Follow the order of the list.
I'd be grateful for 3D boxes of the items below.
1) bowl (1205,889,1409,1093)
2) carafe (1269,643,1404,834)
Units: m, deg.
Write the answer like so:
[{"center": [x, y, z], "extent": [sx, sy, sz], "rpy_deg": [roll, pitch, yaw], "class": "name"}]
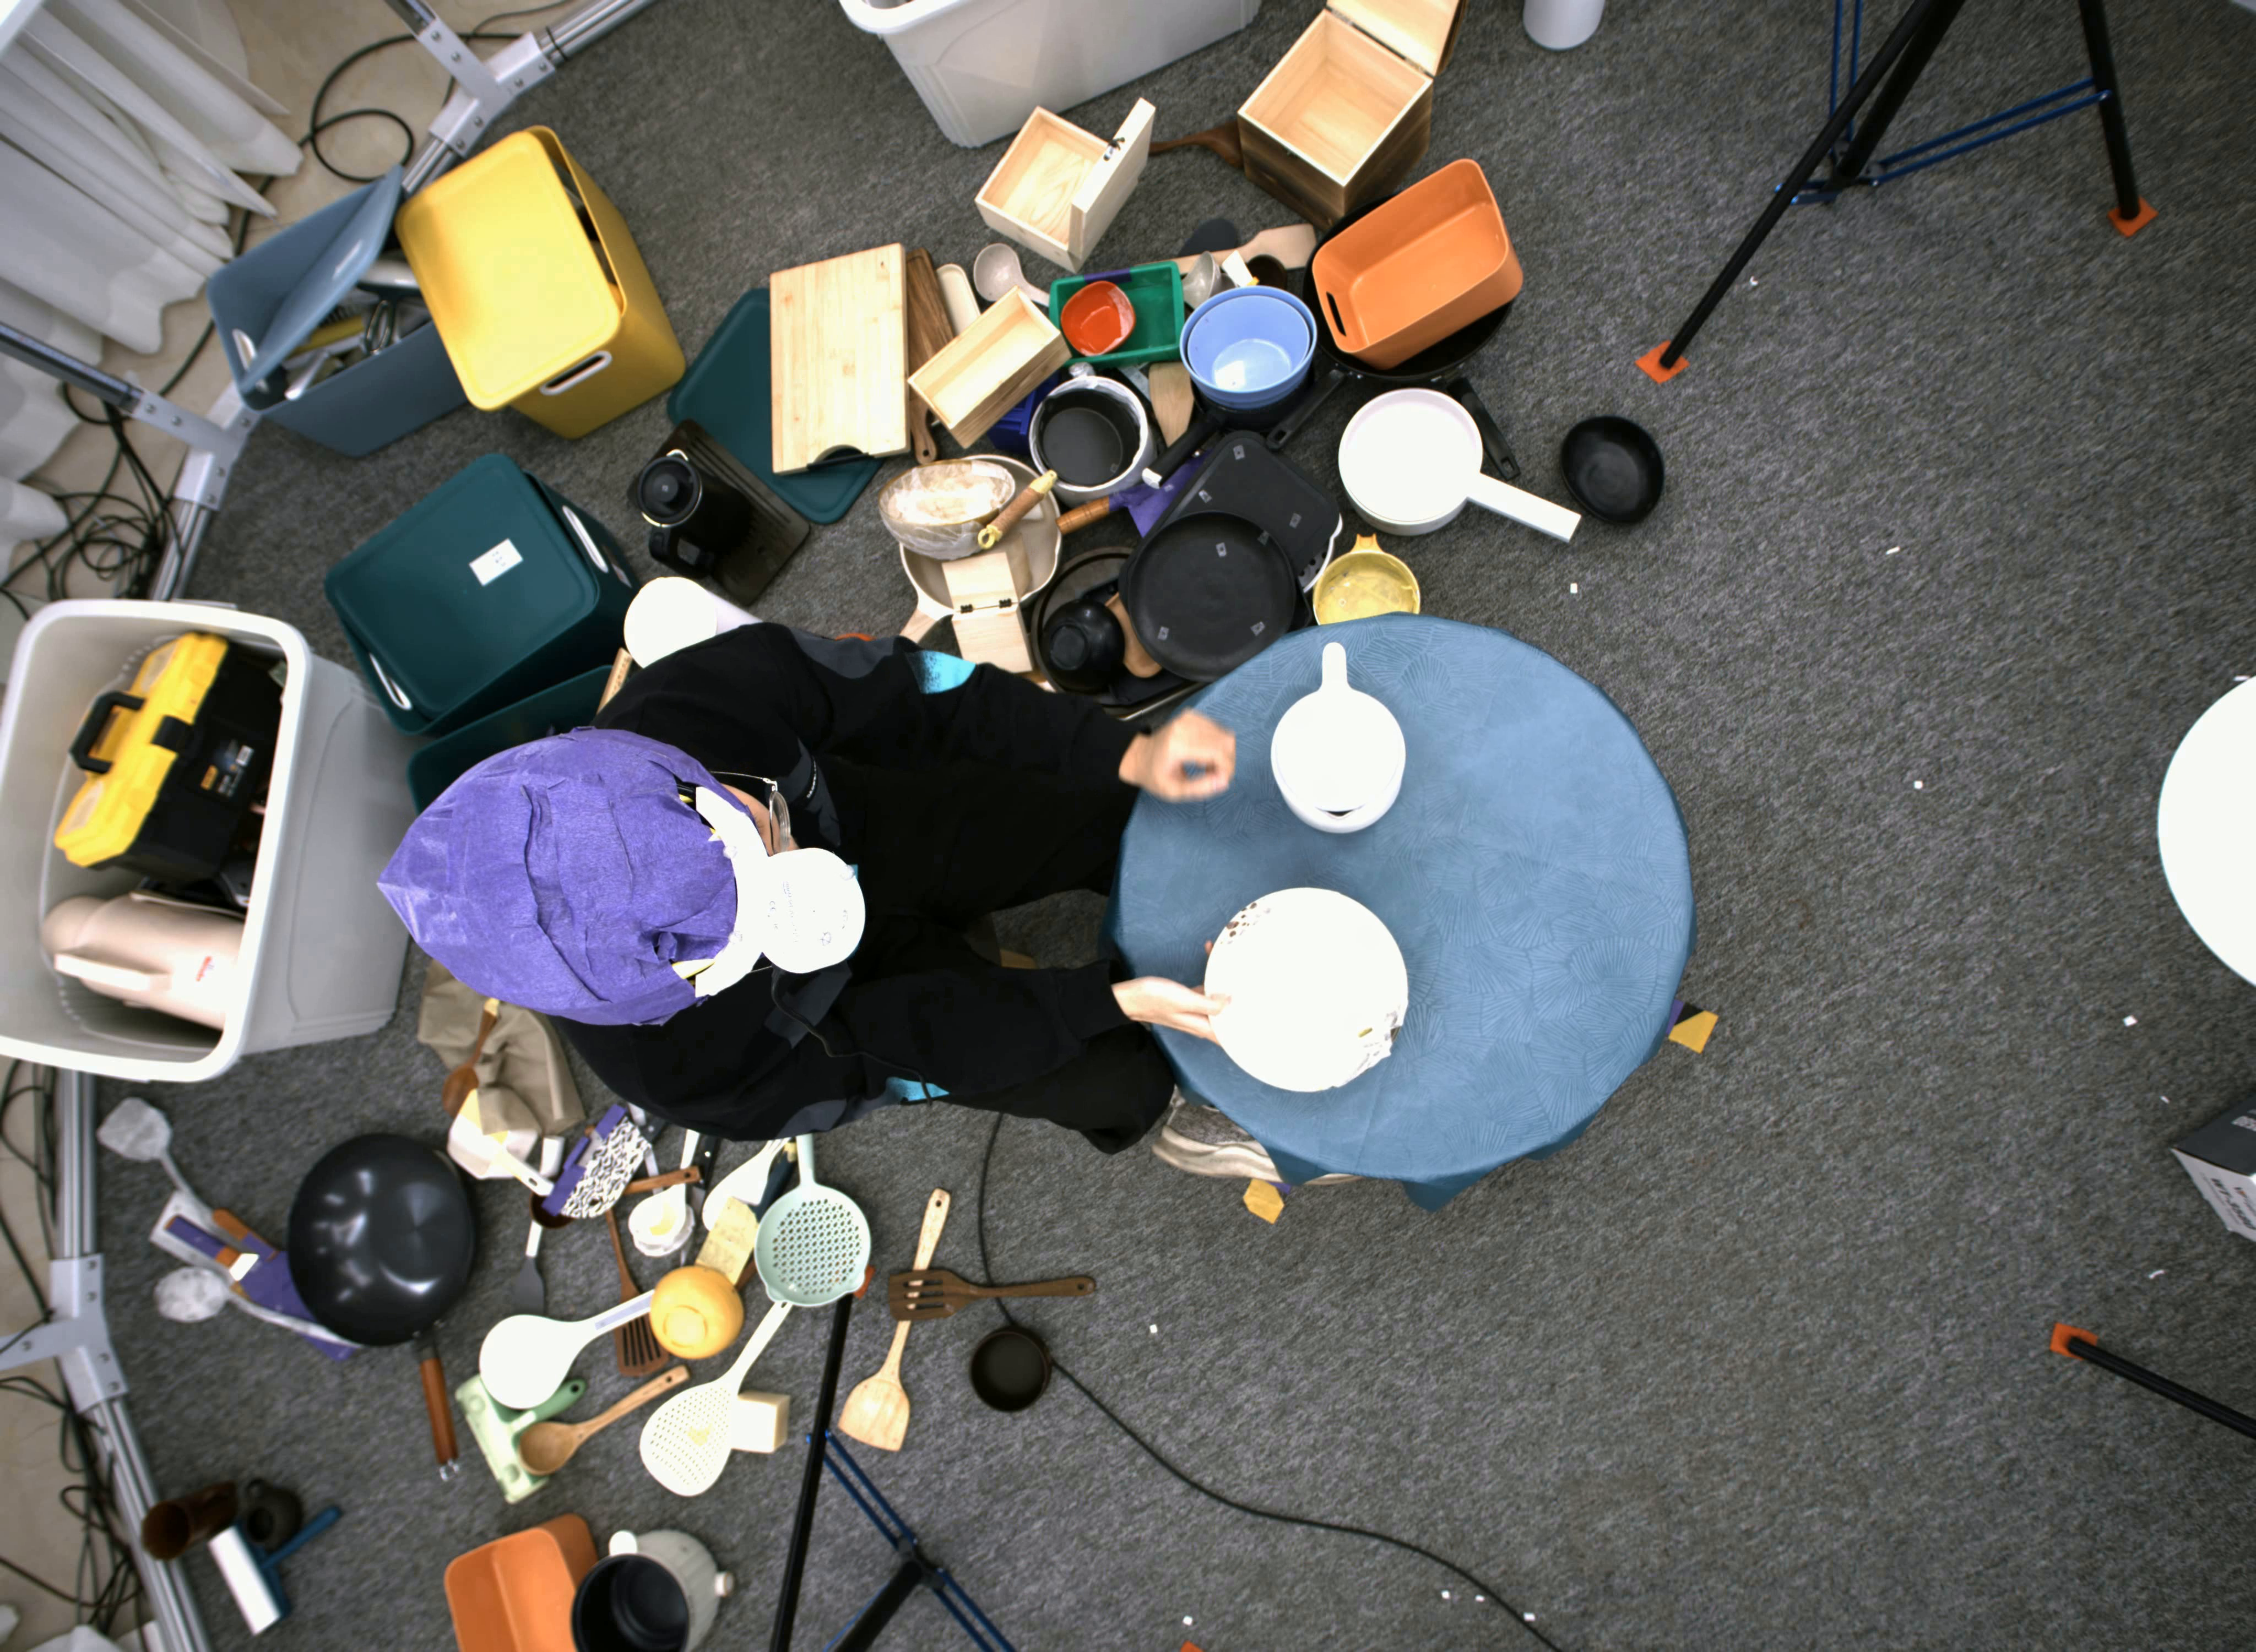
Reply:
[{"center": [0.185, 0.167, 1.422], "extent": [0.205, 0.078, 0.203], "rpy_deg": [-1, 88, 12], "class": "bowl"}, {"center": [0.208, -0.089, 1.389], "extent": [0.133, 0.183, 0.190], "rpy_deg": [-4, 83, 8], "class": "carafe"}]
